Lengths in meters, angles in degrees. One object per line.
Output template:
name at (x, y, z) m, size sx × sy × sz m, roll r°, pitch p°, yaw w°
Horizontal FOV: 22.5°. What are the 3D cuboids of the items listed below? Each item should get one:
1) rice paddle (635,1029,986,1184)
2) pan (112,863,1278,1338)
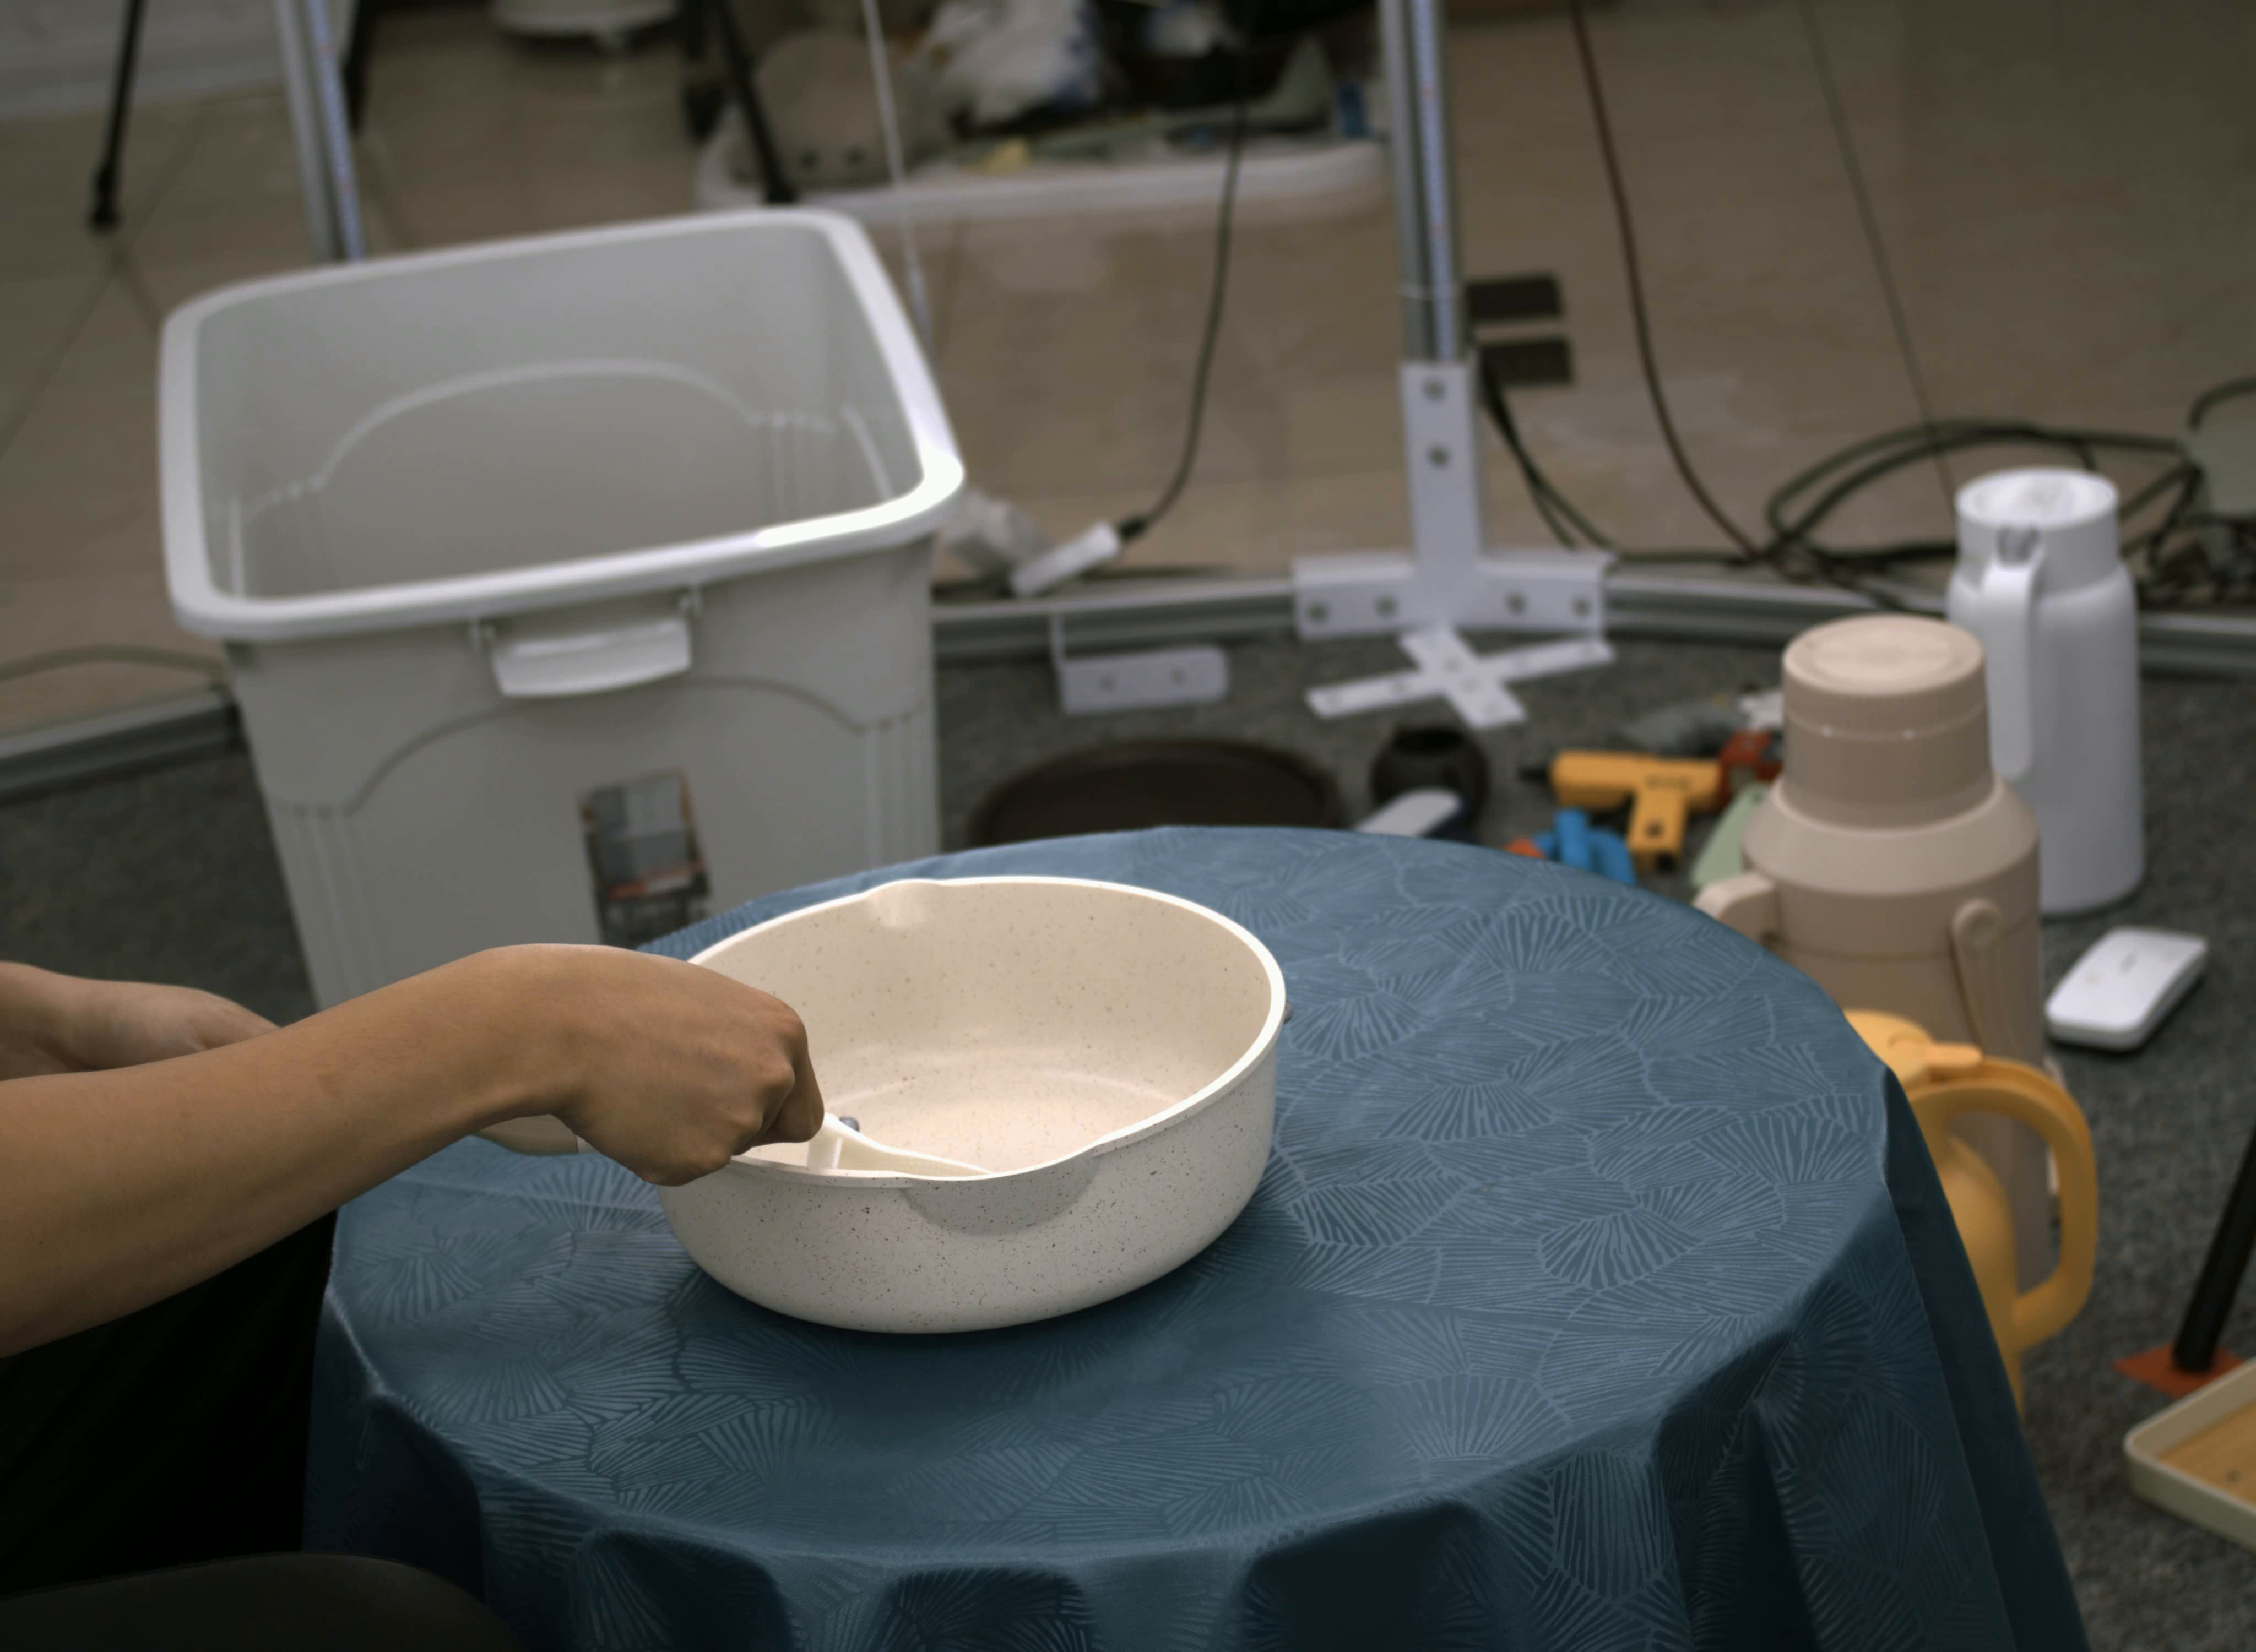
rice paddle at (-0.107, 0.113, 2.054) m, size 0.068 × 0.029 × 0.207 m, roll 1°, pitch -16°, yaw 32°
pan at (-0.155, 0.116, 2.123) m, size 0.434 × 0.104 × 0.259 m, roll -10°, pitch 27°, yaw -7°
